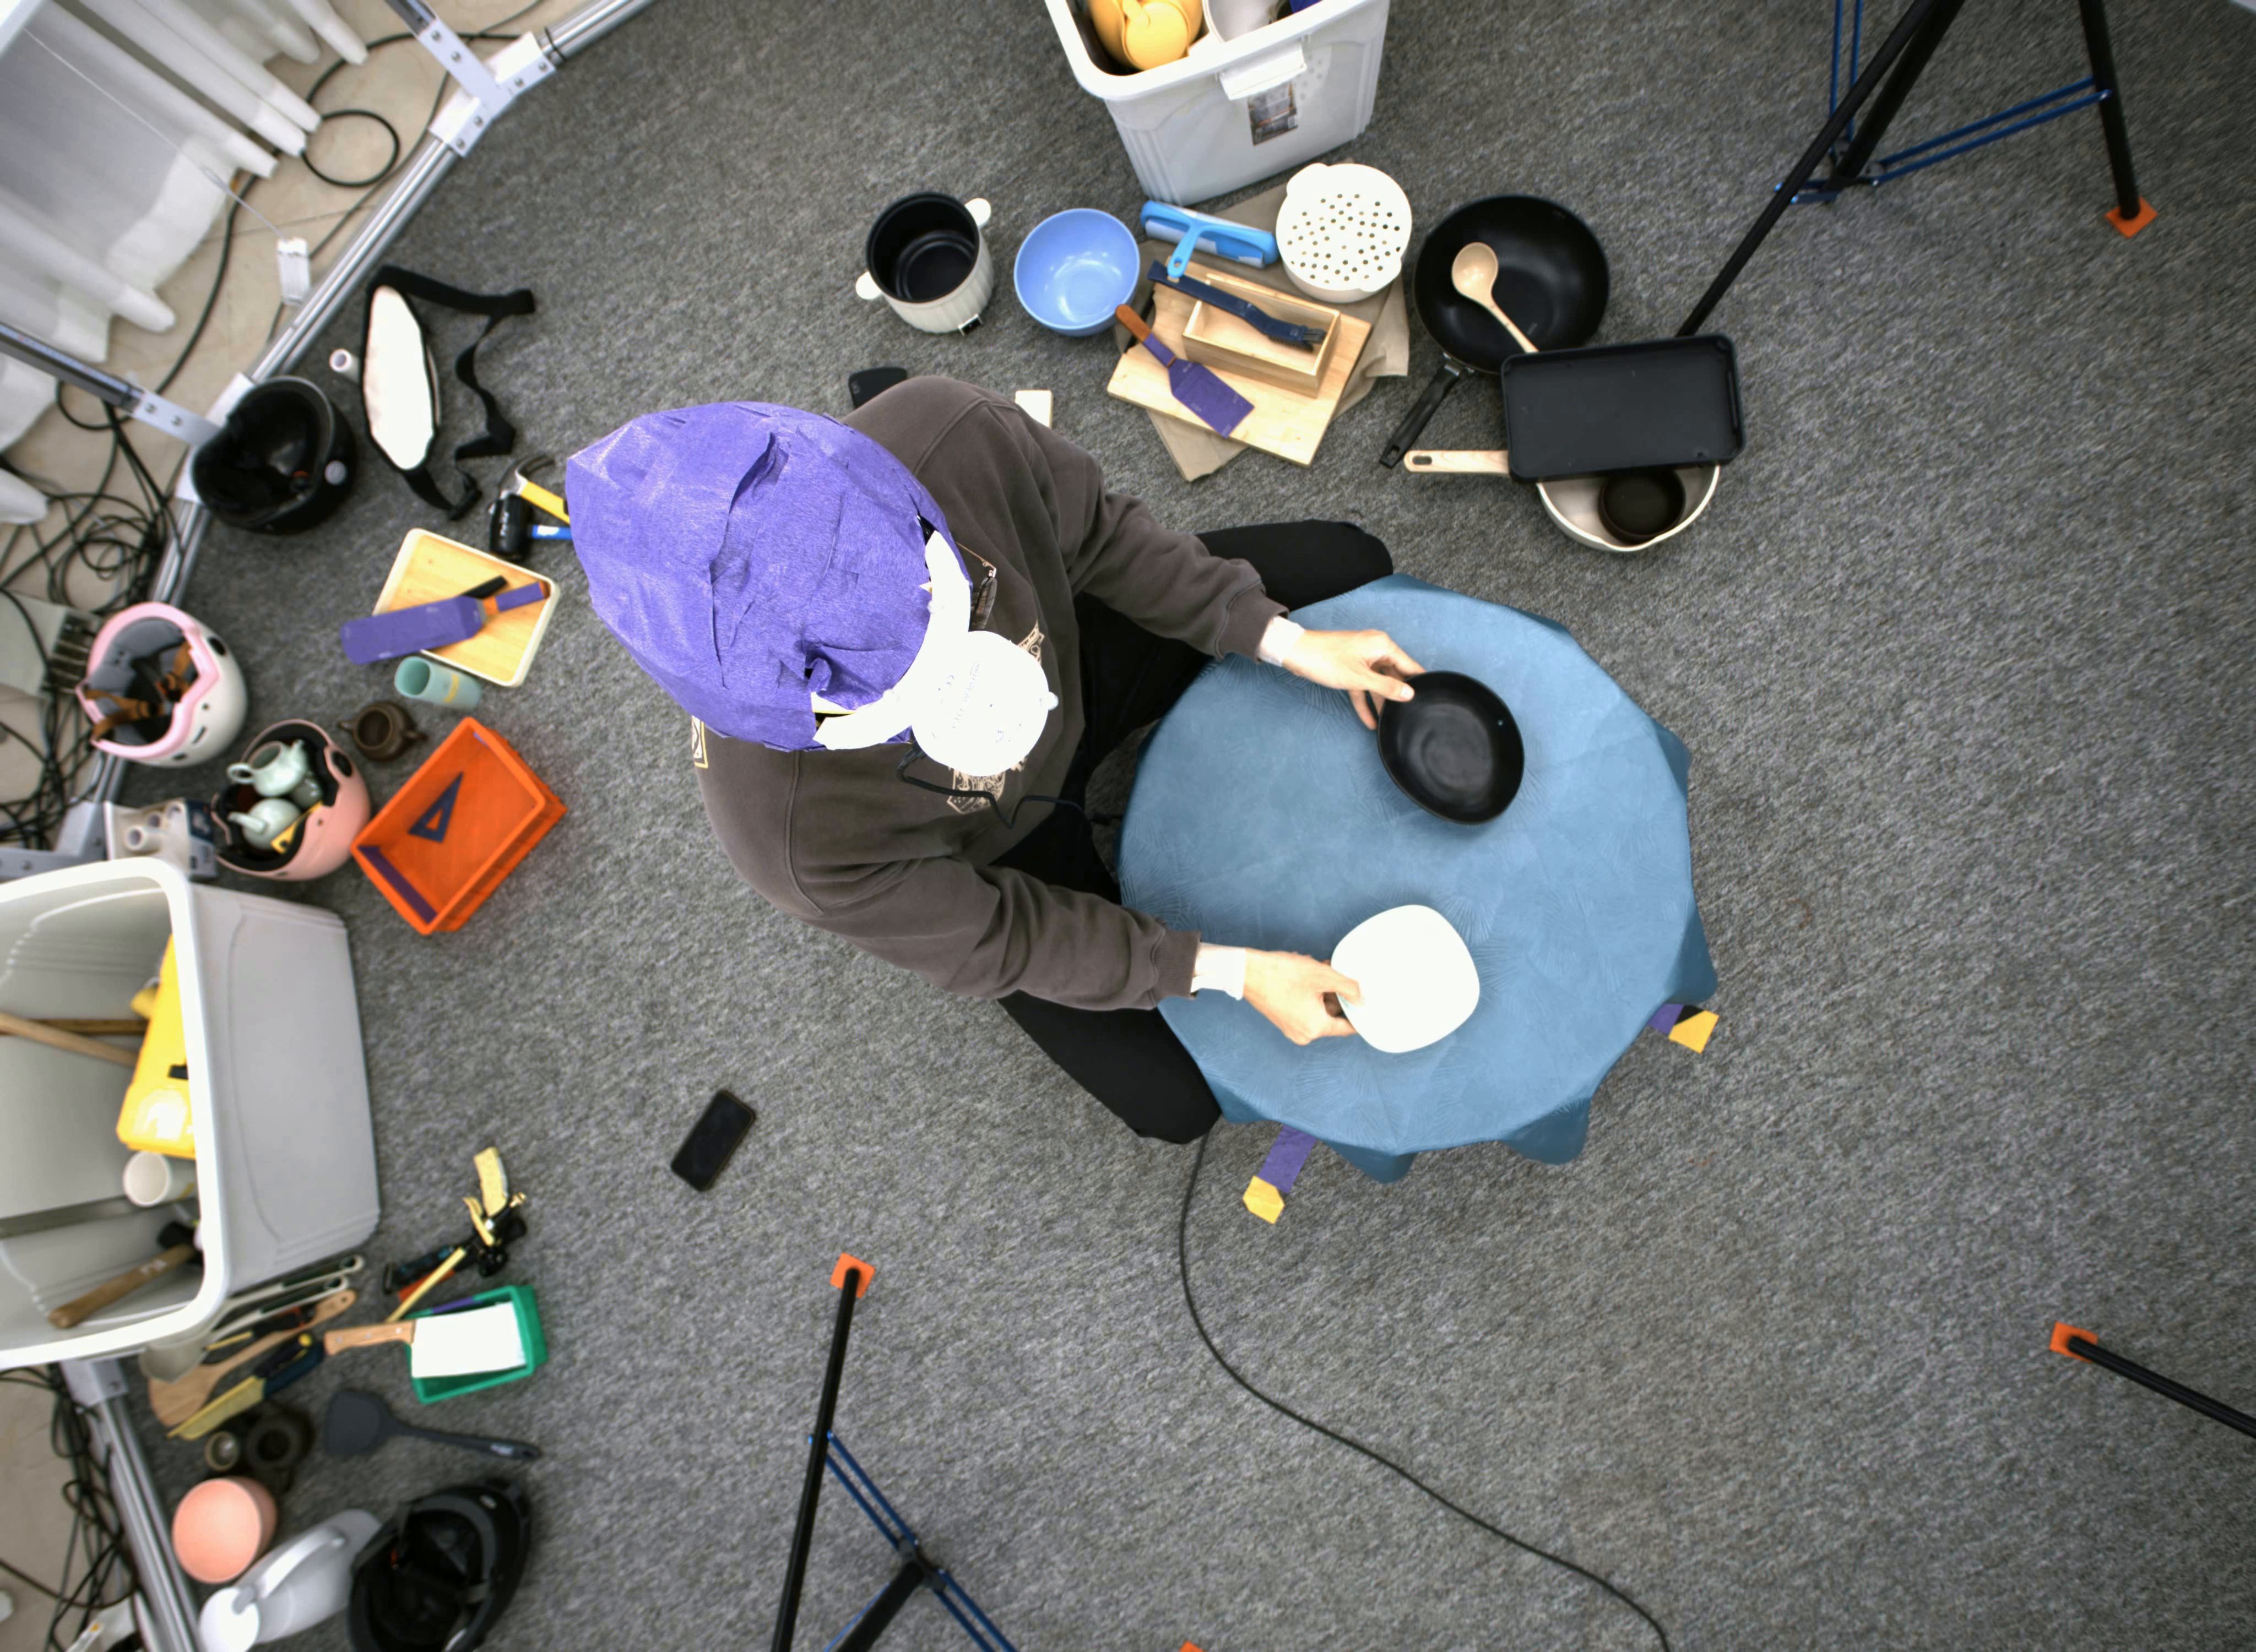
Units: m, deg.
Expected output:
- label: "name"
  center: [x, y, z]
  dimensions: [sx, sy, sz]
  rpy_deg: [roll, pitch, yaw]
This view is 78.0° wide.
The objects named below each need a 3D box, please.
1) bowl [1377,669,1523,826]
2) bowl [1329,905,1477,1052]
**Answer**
- label: "bowl"
  center: [0.333, -0.081, 1.421]
  dimensions: [0.138, 0.066, 0.169]
  rpy_deg: [-36, 83, 6]
- label: "bowl"
  center: [0.281, 0.155, 1.422]
  dimensions: [0.152, 0.059, 0.151]
  rpy_deg: [-1, 86, 8]
